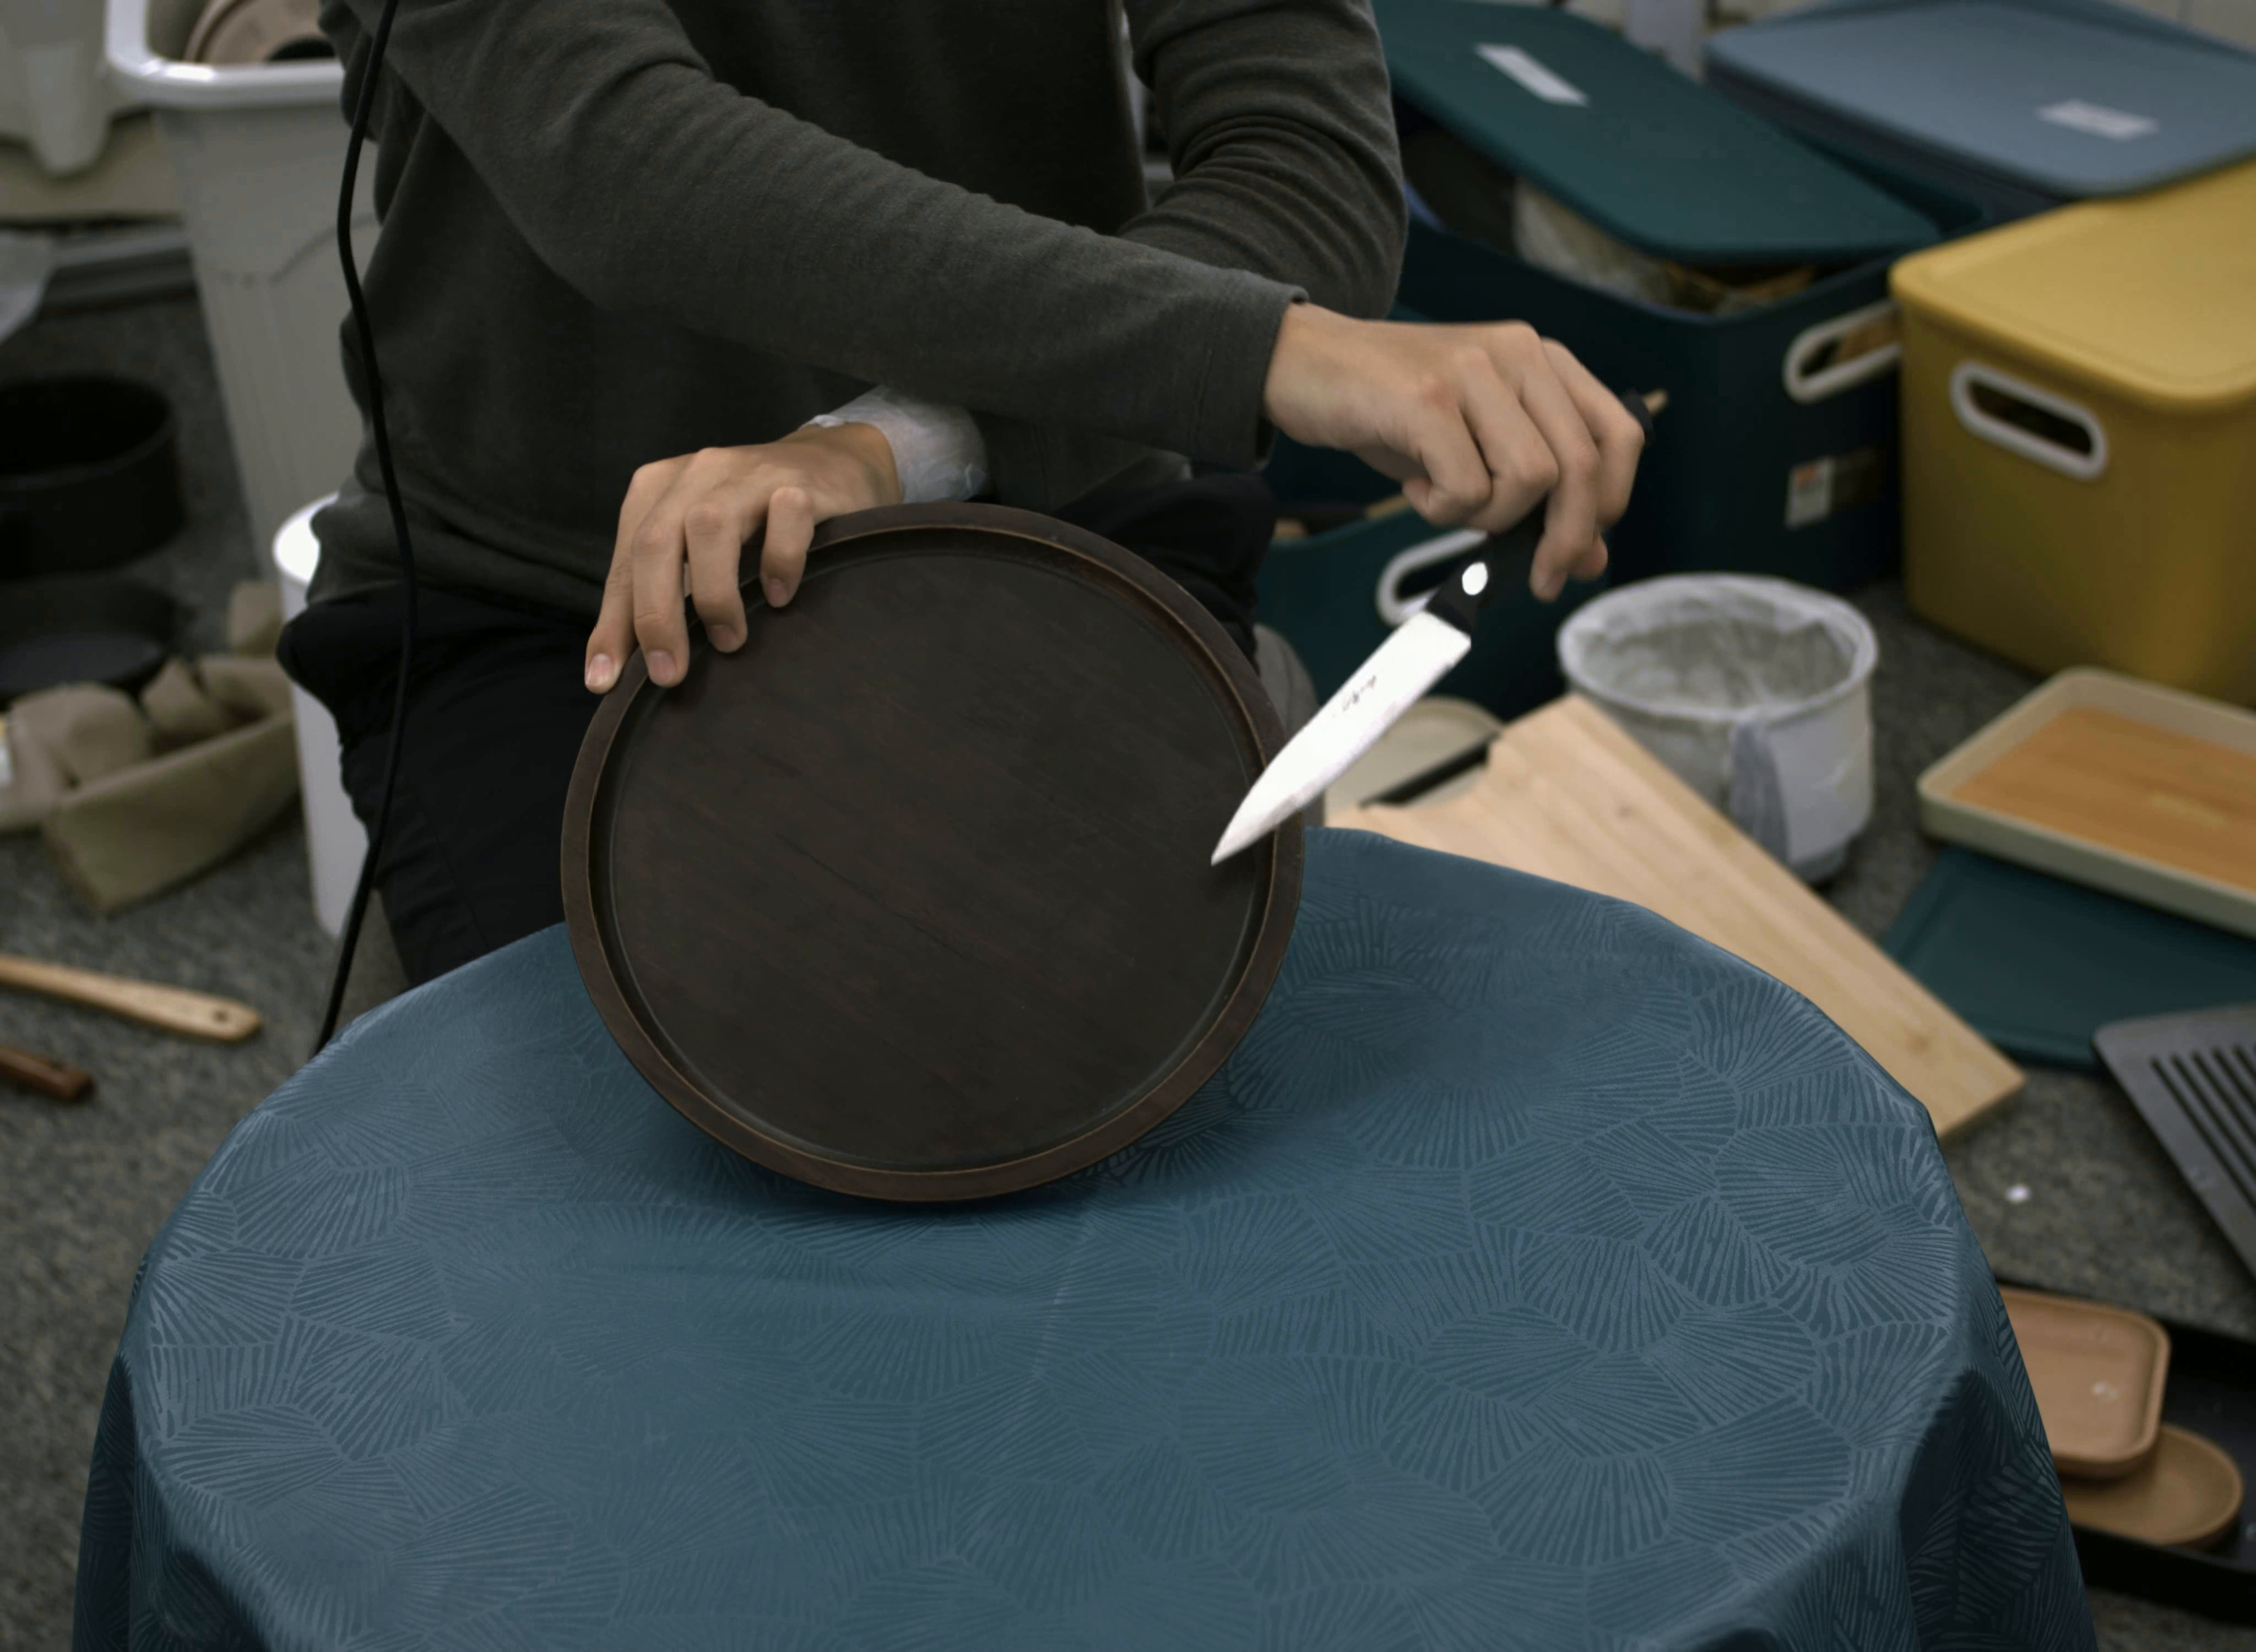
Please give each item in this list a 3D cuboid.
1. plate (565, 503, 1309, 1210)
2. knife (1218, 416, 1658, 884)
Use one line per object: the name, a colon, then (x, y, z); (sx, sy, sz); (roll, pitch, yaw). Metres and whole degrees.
plate: (-0.065, 0.010, 1.904); (0.253, 0.028, 0.259); (0, 67, 0)
knife: (0.104, -0.063, 1.930); (0.024, 0.016, 0.241); (41, 65, 5)
